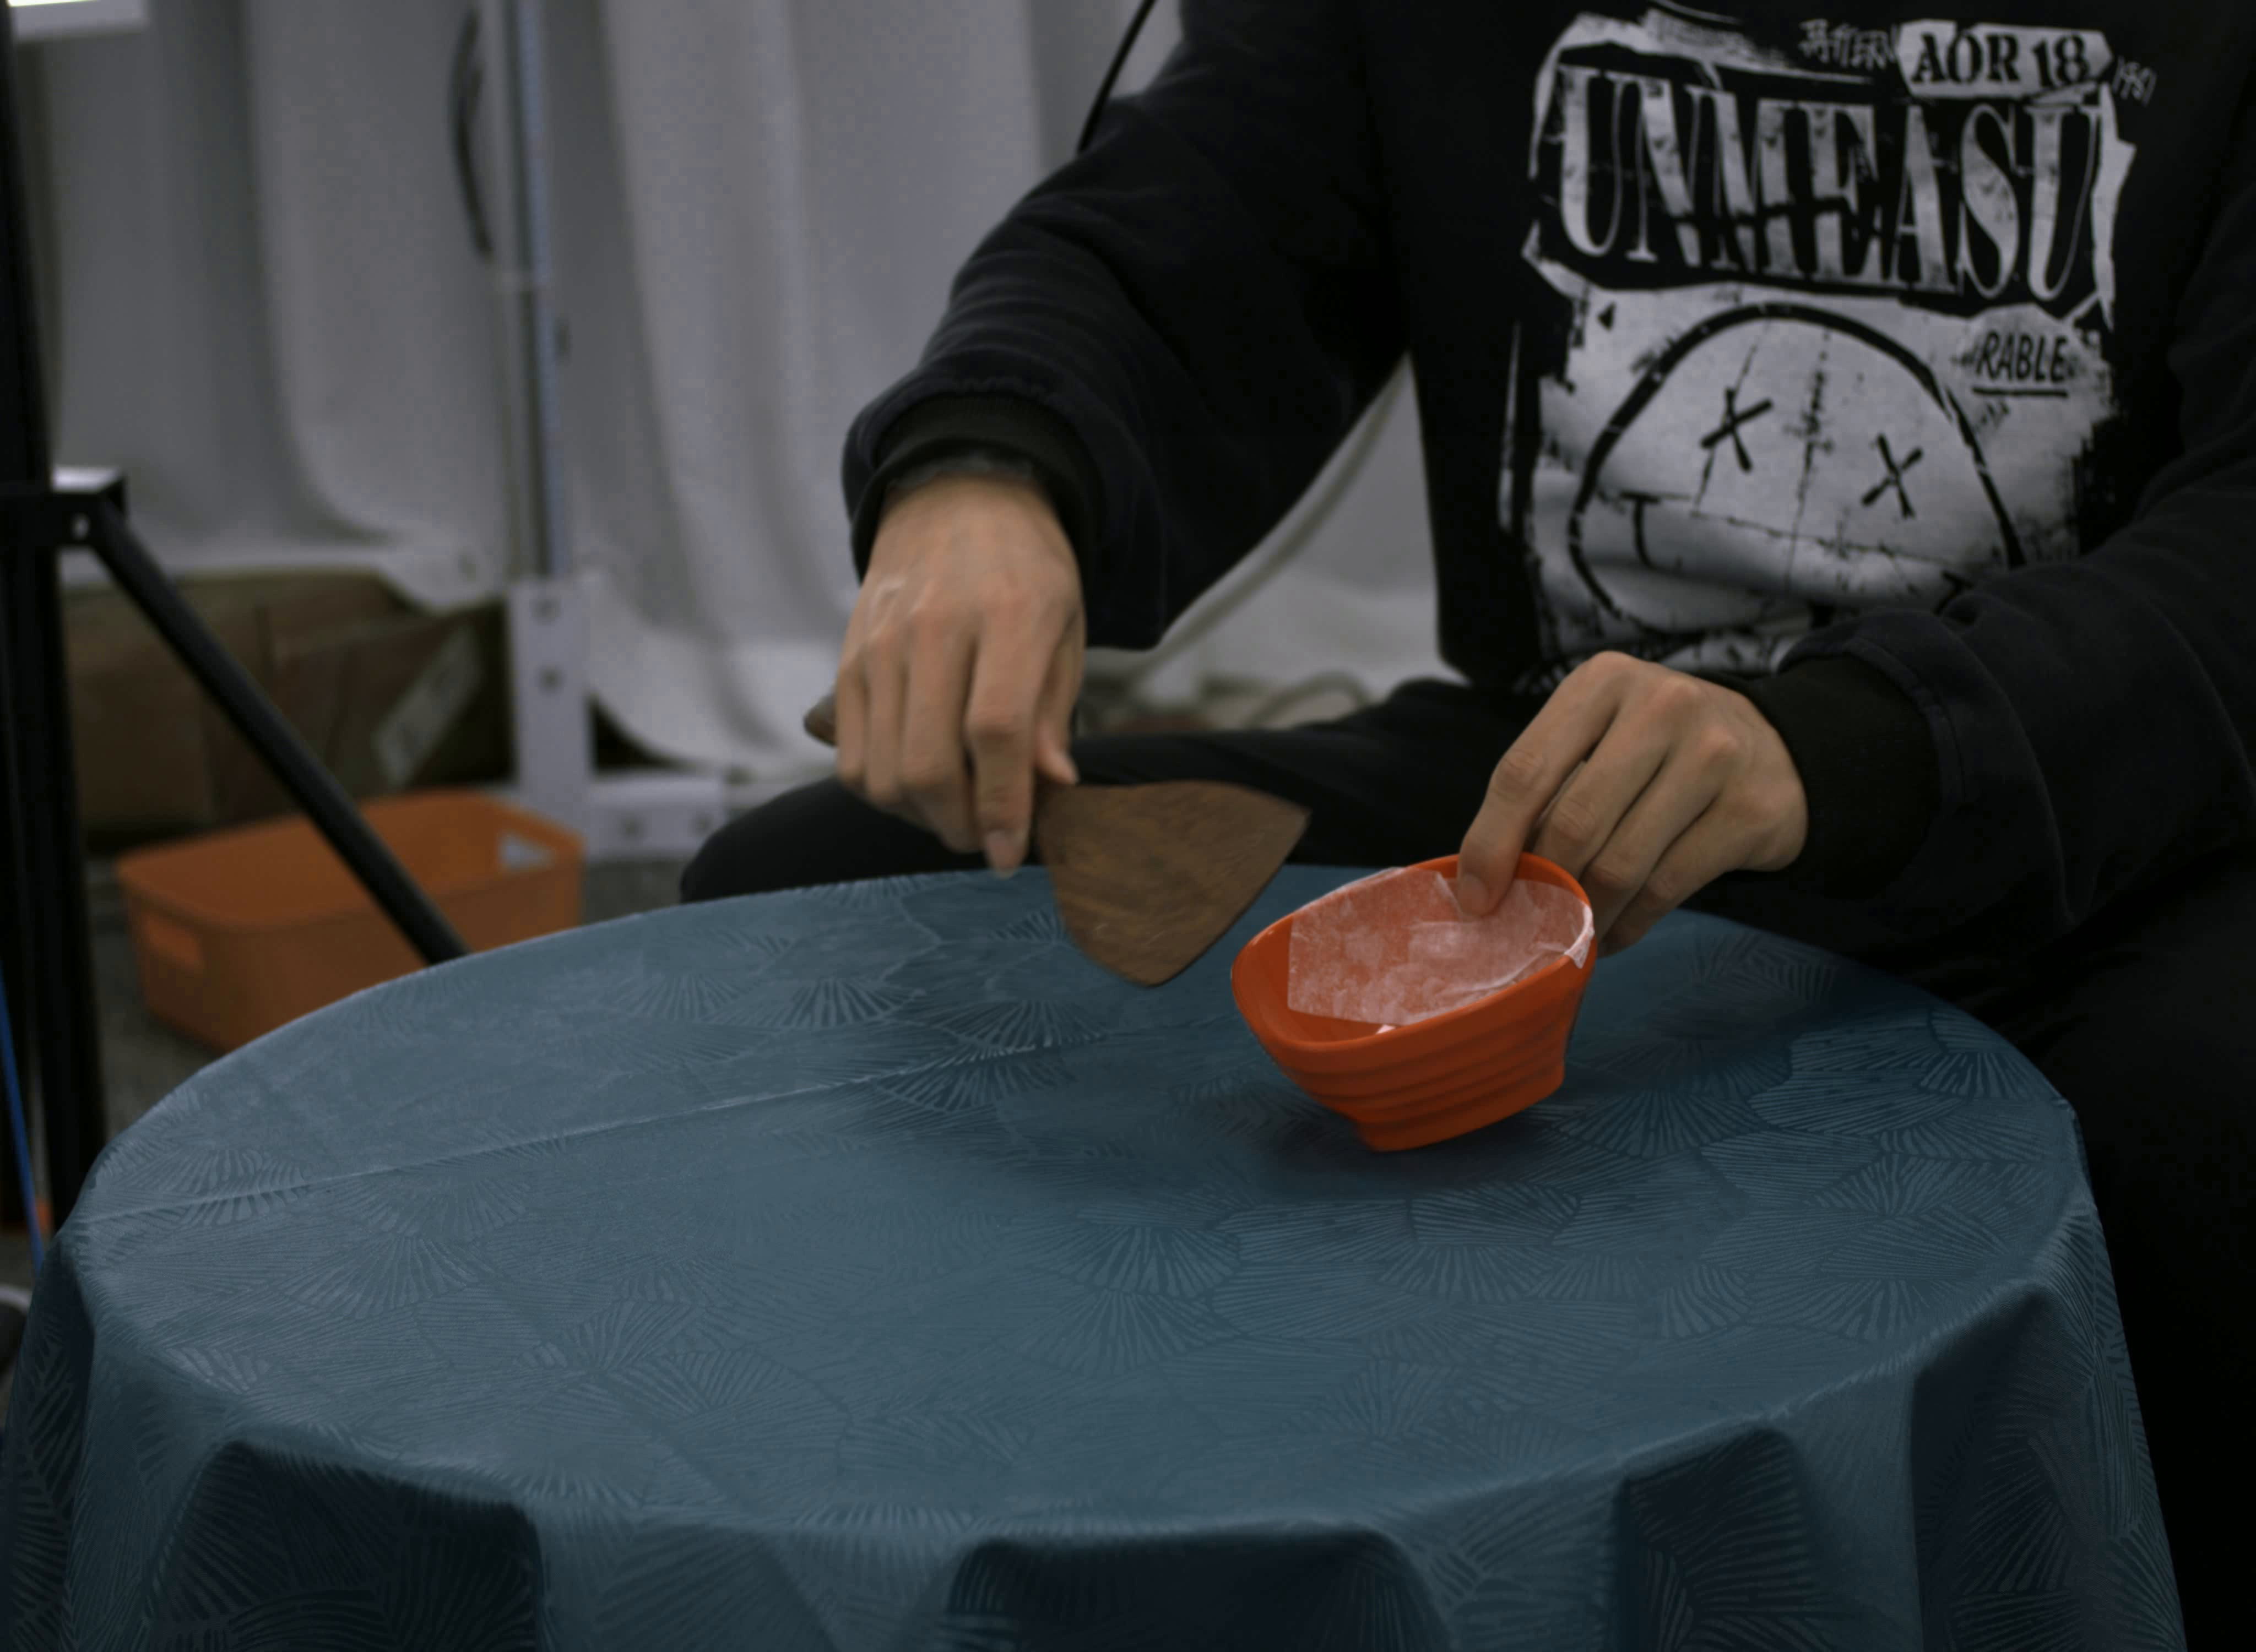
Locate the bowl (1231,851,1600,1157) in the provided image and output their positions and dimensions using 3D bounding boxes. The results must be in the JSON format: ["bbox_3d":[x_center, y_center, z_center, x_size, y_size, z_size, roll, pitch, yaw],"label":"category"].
[{"bbox_3d":[0.092,0.058,1.598,0.119,0.051,0.120,-17,23,6],"label":"bowl"}]

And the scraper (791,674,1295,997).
[{"bbox_3d":[-0.035,-0.005,1.633,0.075,0.010,0.216,-45,42,-16],"label":"scraper"}]
